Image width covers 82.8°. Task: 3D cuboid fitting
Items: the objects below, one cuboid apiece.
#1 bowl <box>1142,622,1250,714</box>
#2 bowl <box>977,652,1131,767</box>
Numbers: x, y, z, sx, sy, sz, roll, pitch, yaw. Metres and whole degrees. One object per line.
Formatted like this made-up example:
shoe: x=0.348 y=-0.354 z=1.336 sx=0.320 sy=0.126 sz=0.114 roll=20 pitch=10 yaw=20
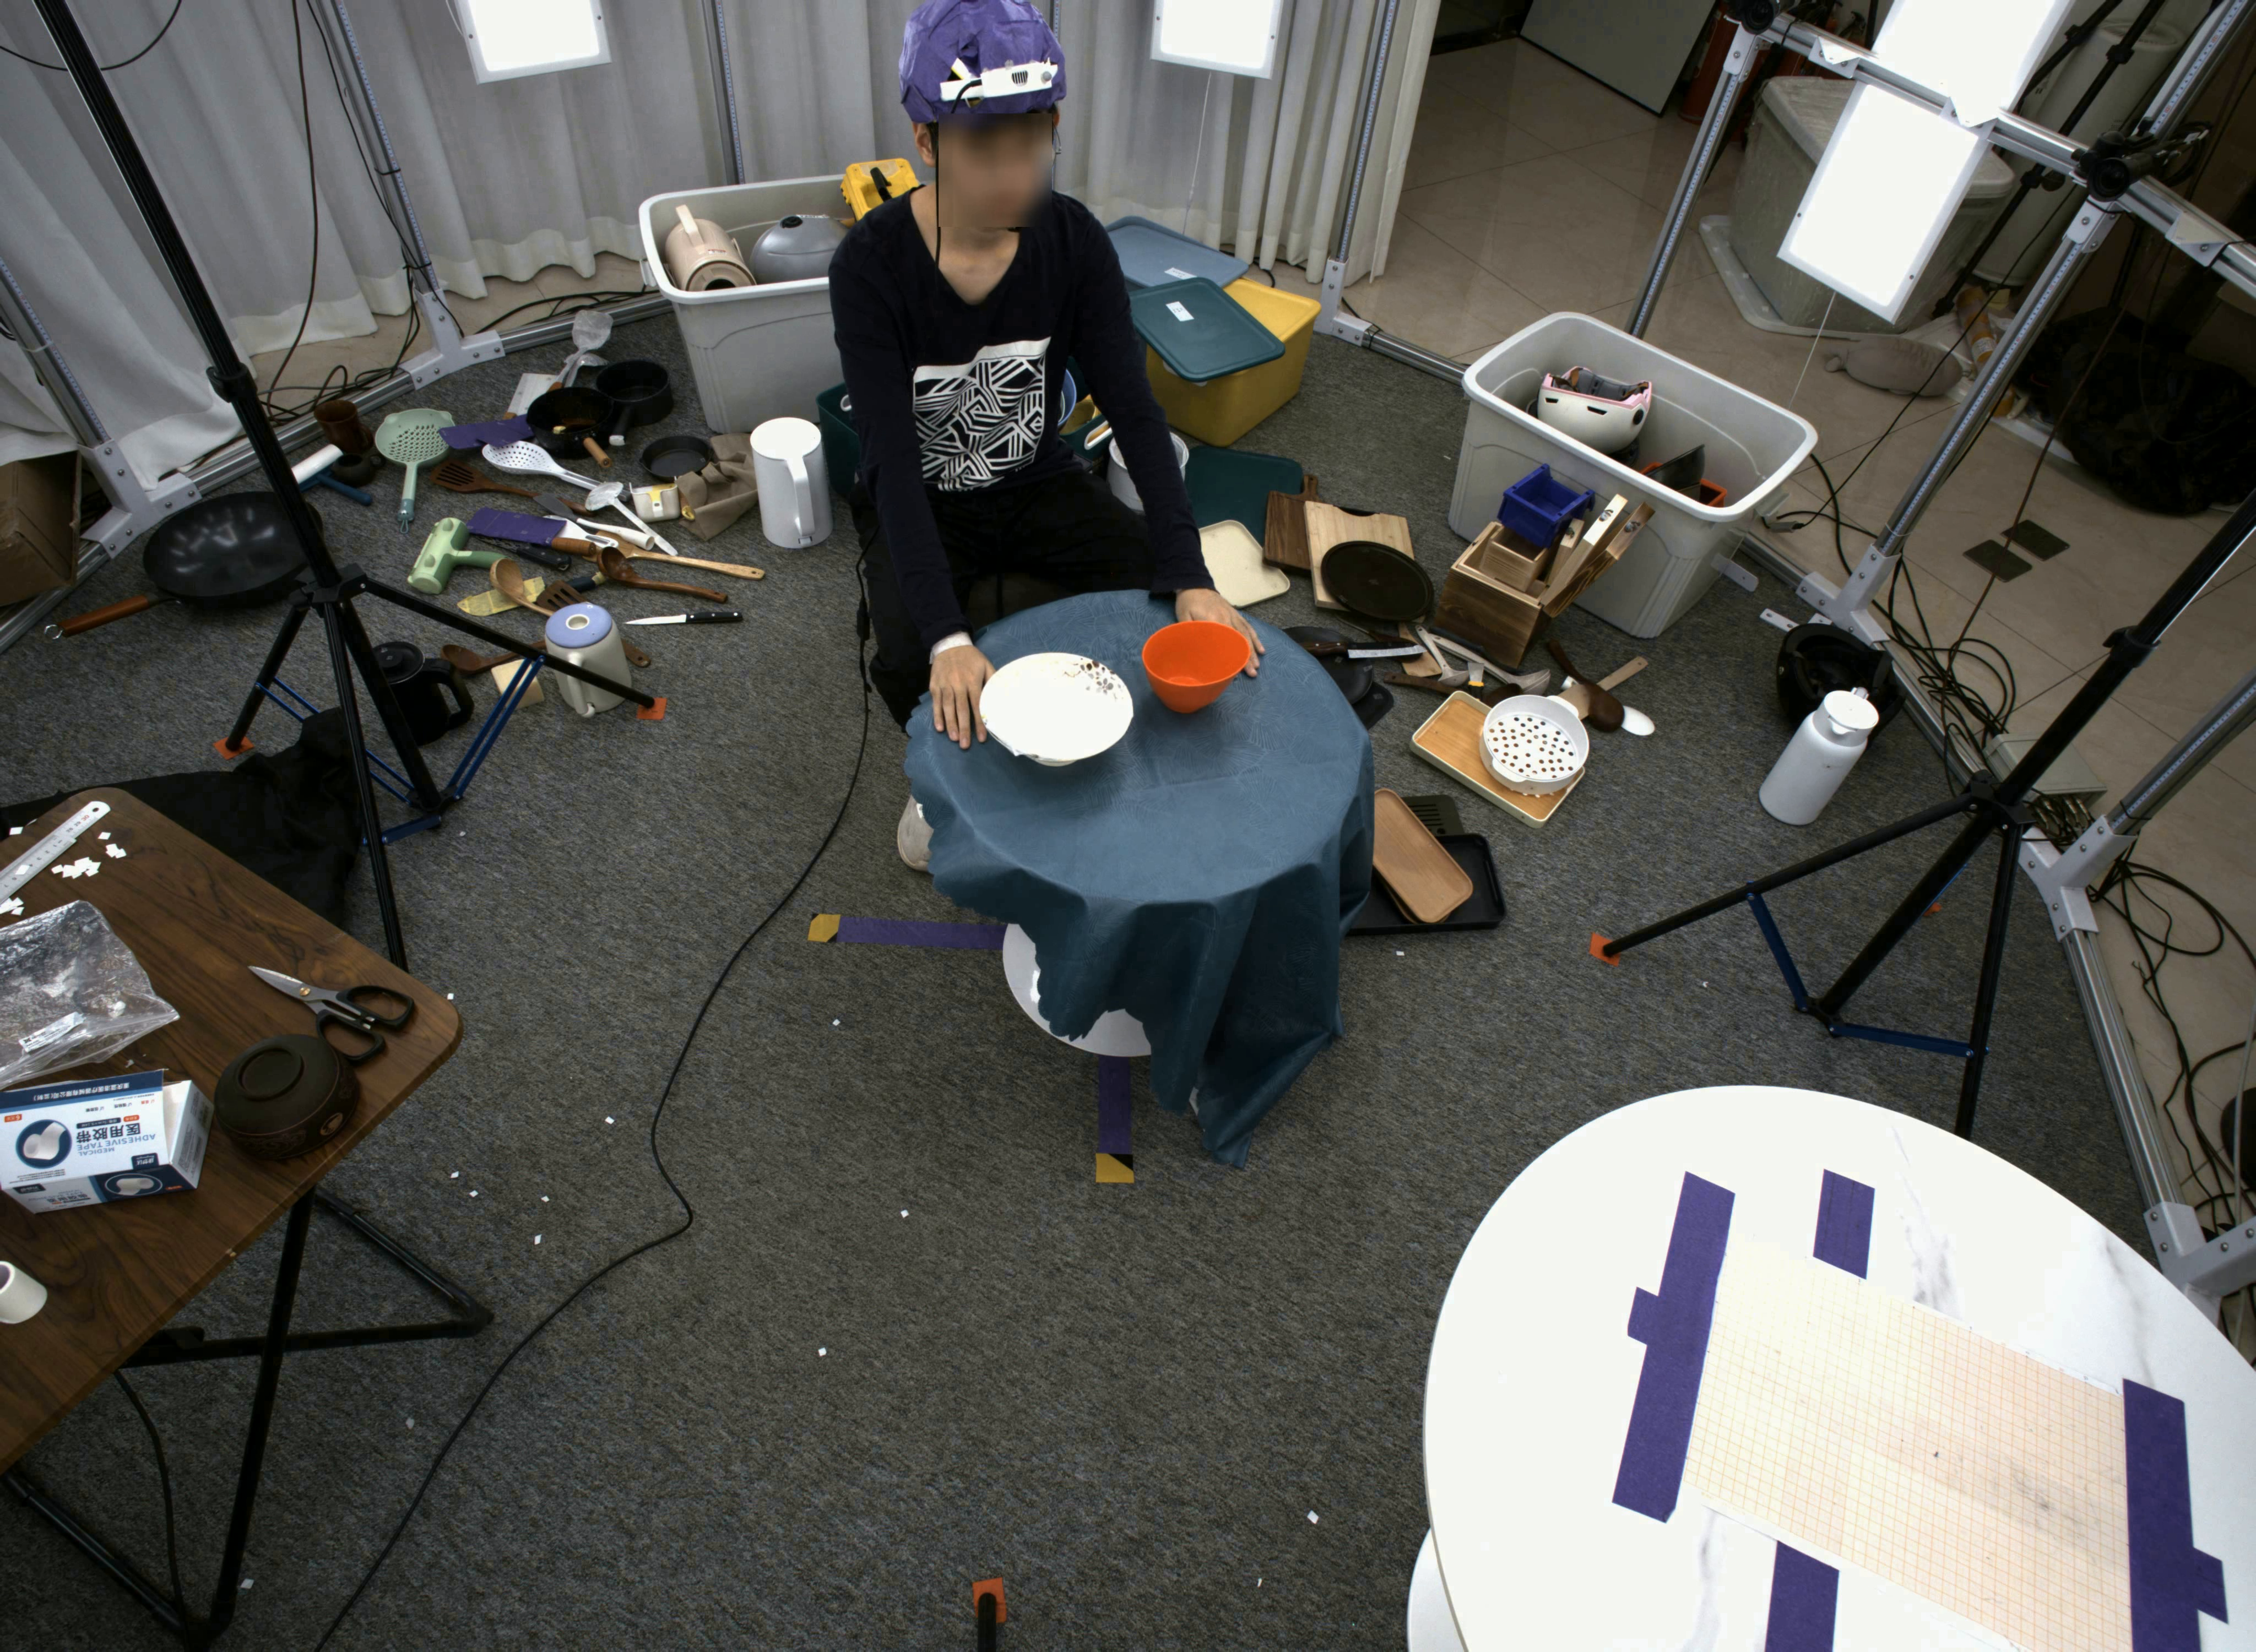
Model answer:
bowl: x=0.091 y=-0.211 z=1.792 sx=0.148 sy=0.102 sz=0.152 roll=1 pitch=48 yaw=-1
bowl: x=-0.100 y=-0.137 z=1.727 sx=0.204 sy=0.076 sz=0.209 roll=3 pitch=50 yaw=-4
